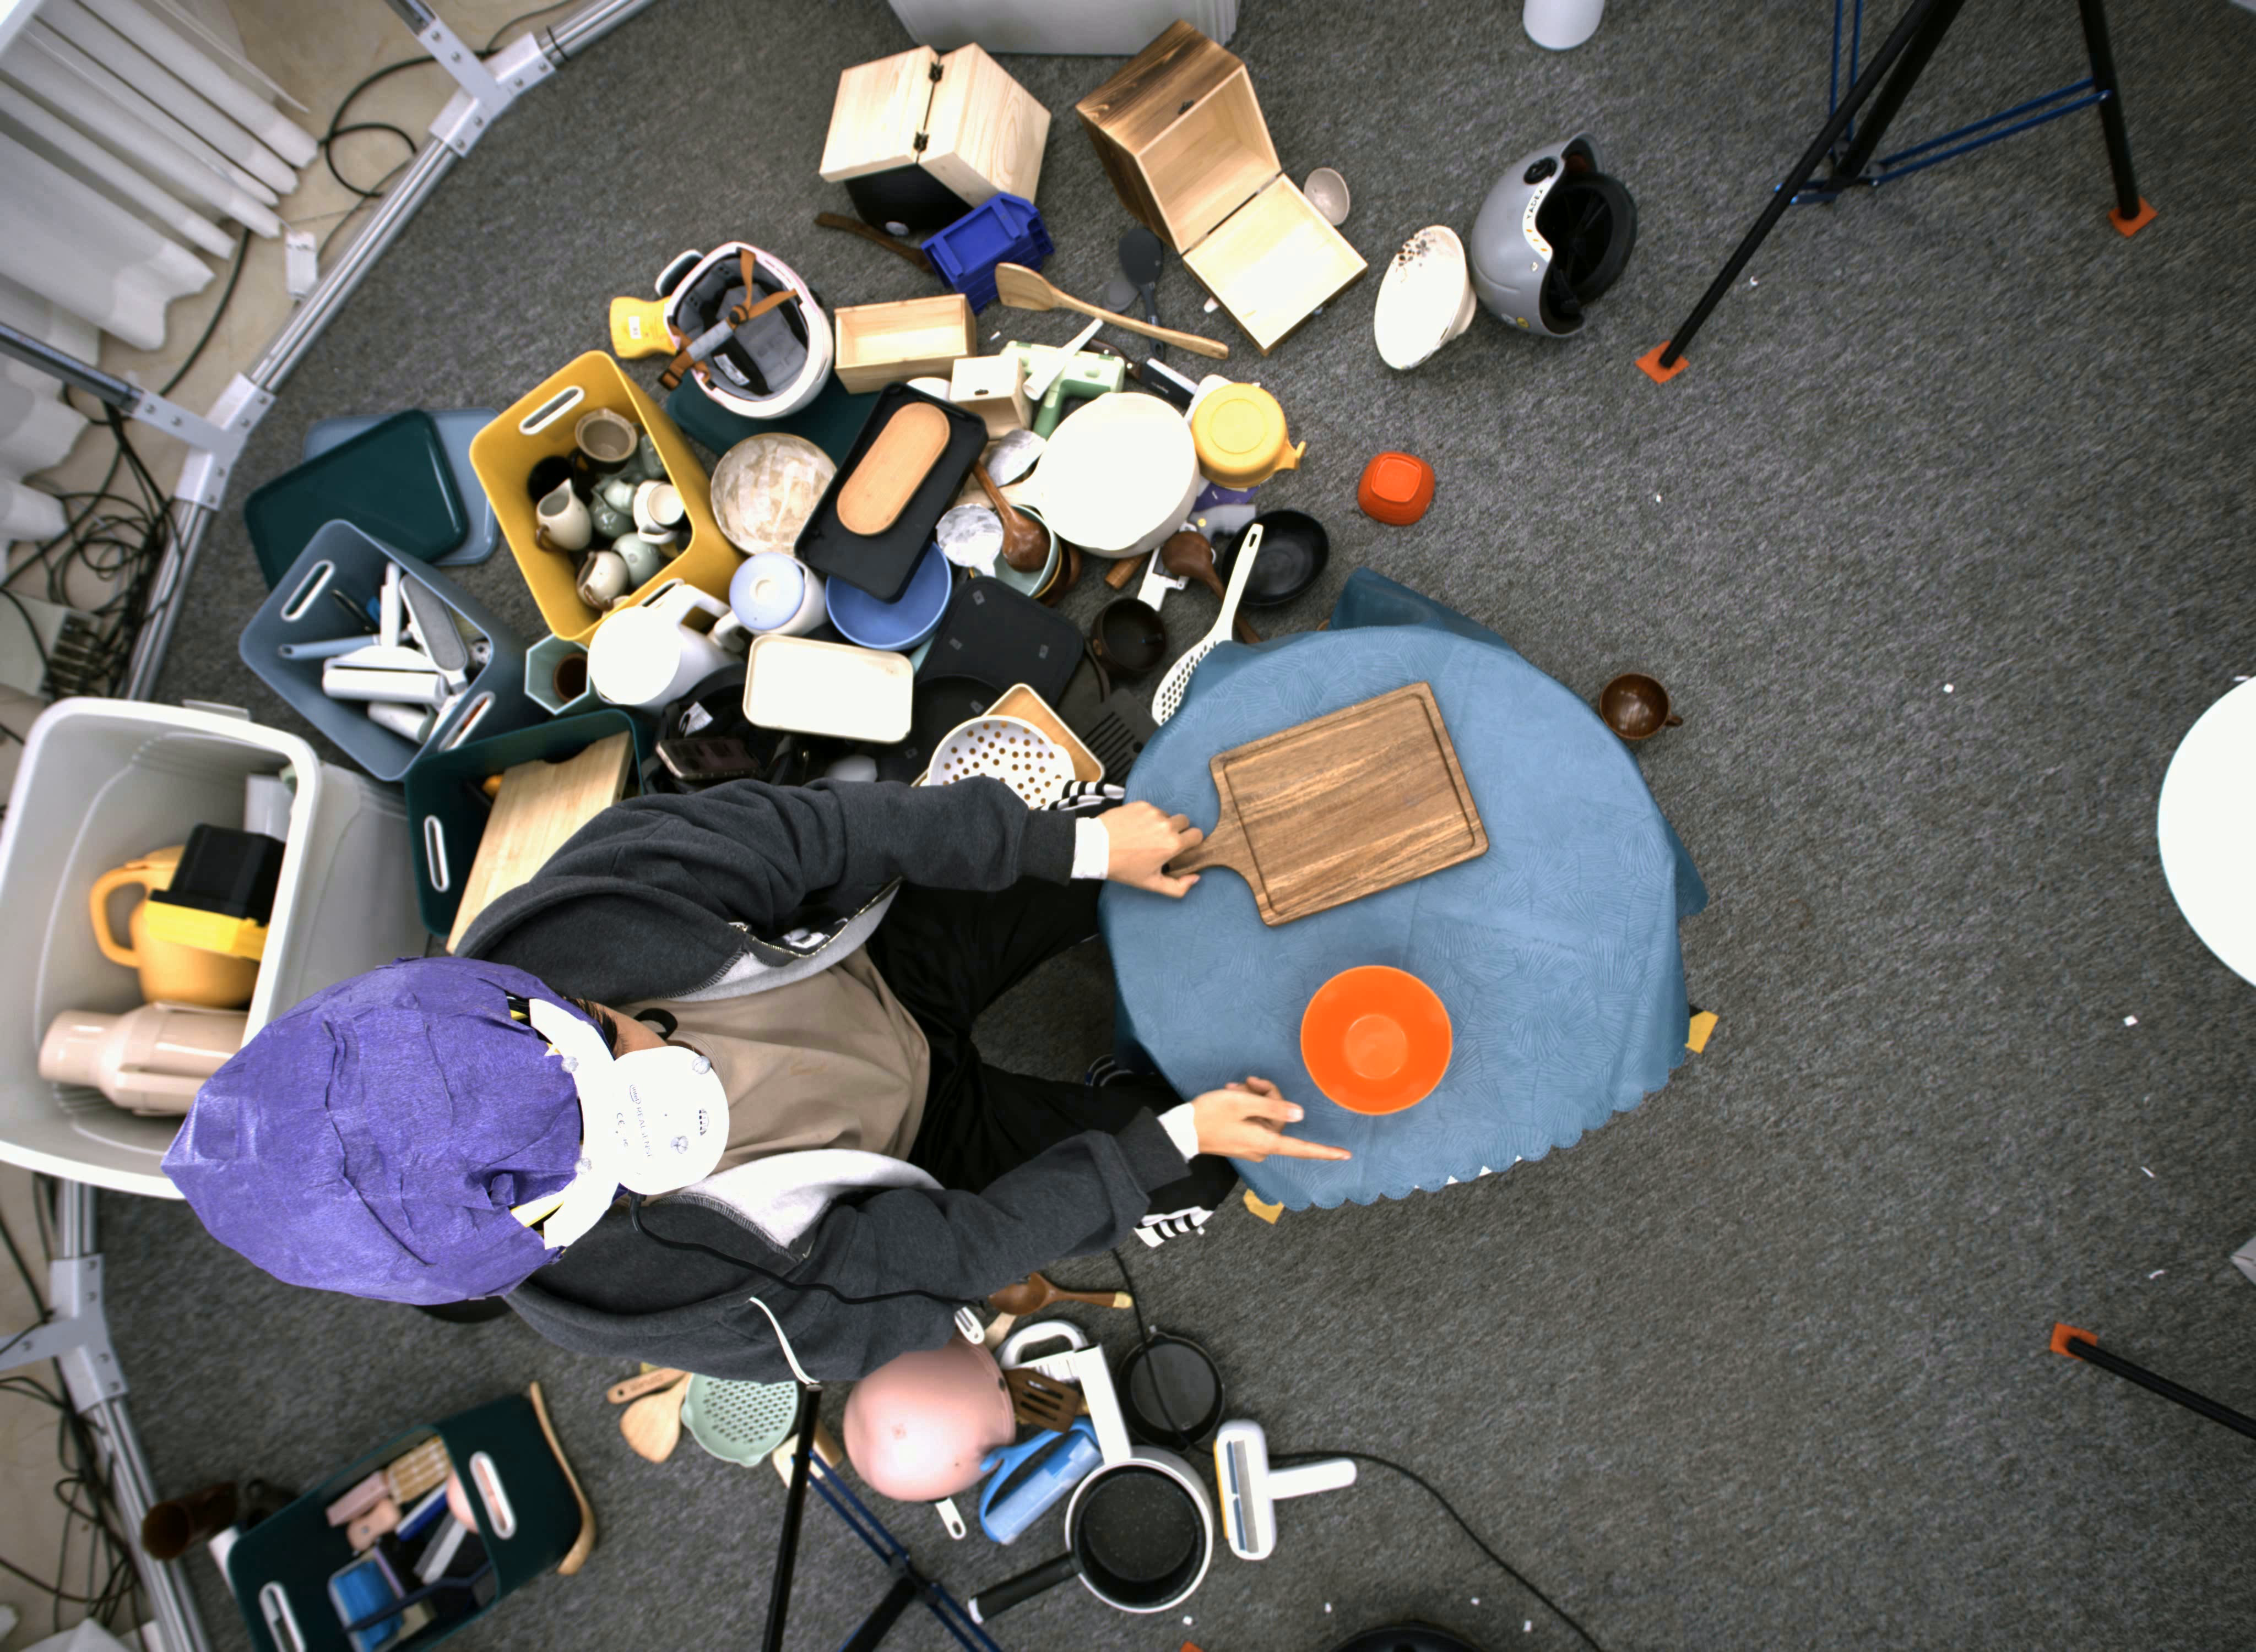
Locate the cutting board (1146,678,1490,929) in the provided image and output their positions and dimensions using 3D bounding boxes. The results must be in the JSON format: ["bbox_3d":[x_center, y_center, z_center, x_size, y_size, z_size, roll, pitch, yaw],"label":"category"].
[{"bbox_3d":[0.184,-0.008,1.469,0.354,0.023,0.200,-20,83,9],"label":"cutting board"}]

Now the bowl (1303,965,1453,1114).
[{"bbox_3d":[0.252,0.214,1.403,0.148,0.105,0.147,-1,85,9],"label":"bowl"}]
